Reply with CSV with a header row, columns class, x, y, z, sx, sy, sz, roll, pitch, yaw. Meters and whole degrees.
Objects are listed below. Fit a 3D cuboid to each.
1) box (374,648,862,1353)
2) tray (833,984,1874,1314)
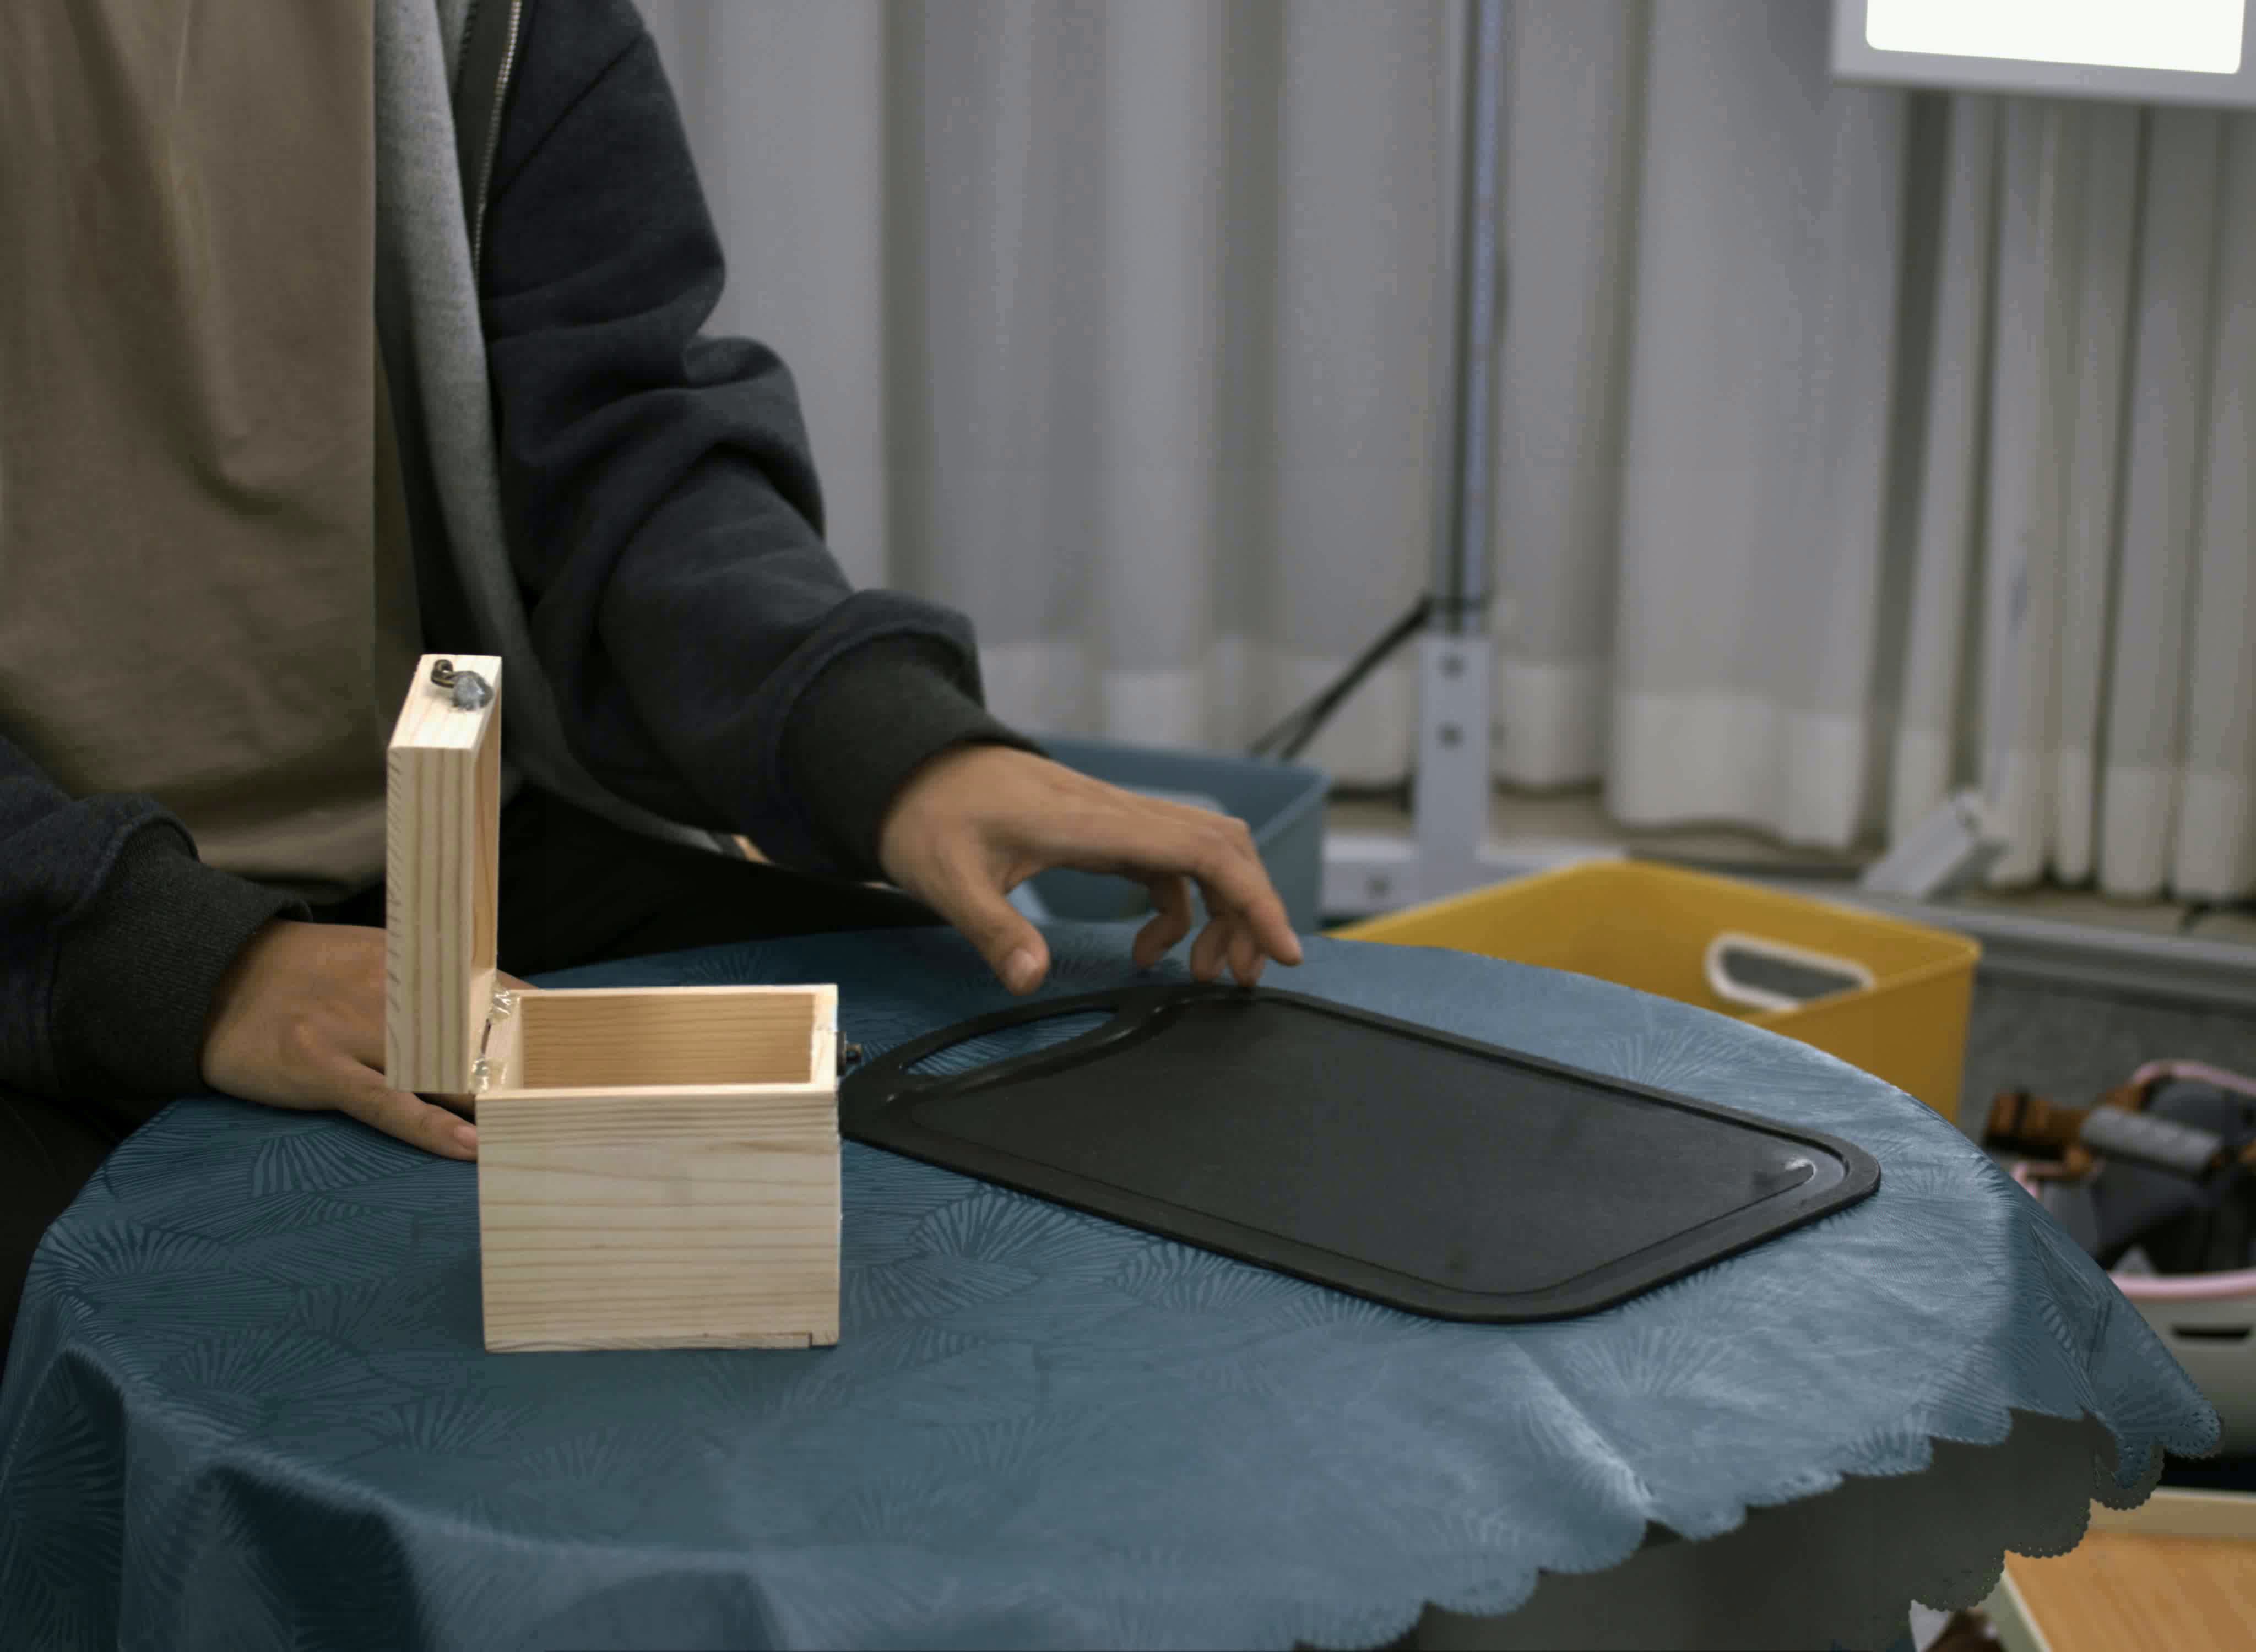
class,x,y,z,sx,sy,sz,roll,pitch,yaw
box,-0.143,0.046,1.508,0.133,0.186,0.102,-2,17,-3
tray,0.061,0.096,1.673,0.321,0.010,0.212,14,20,40
